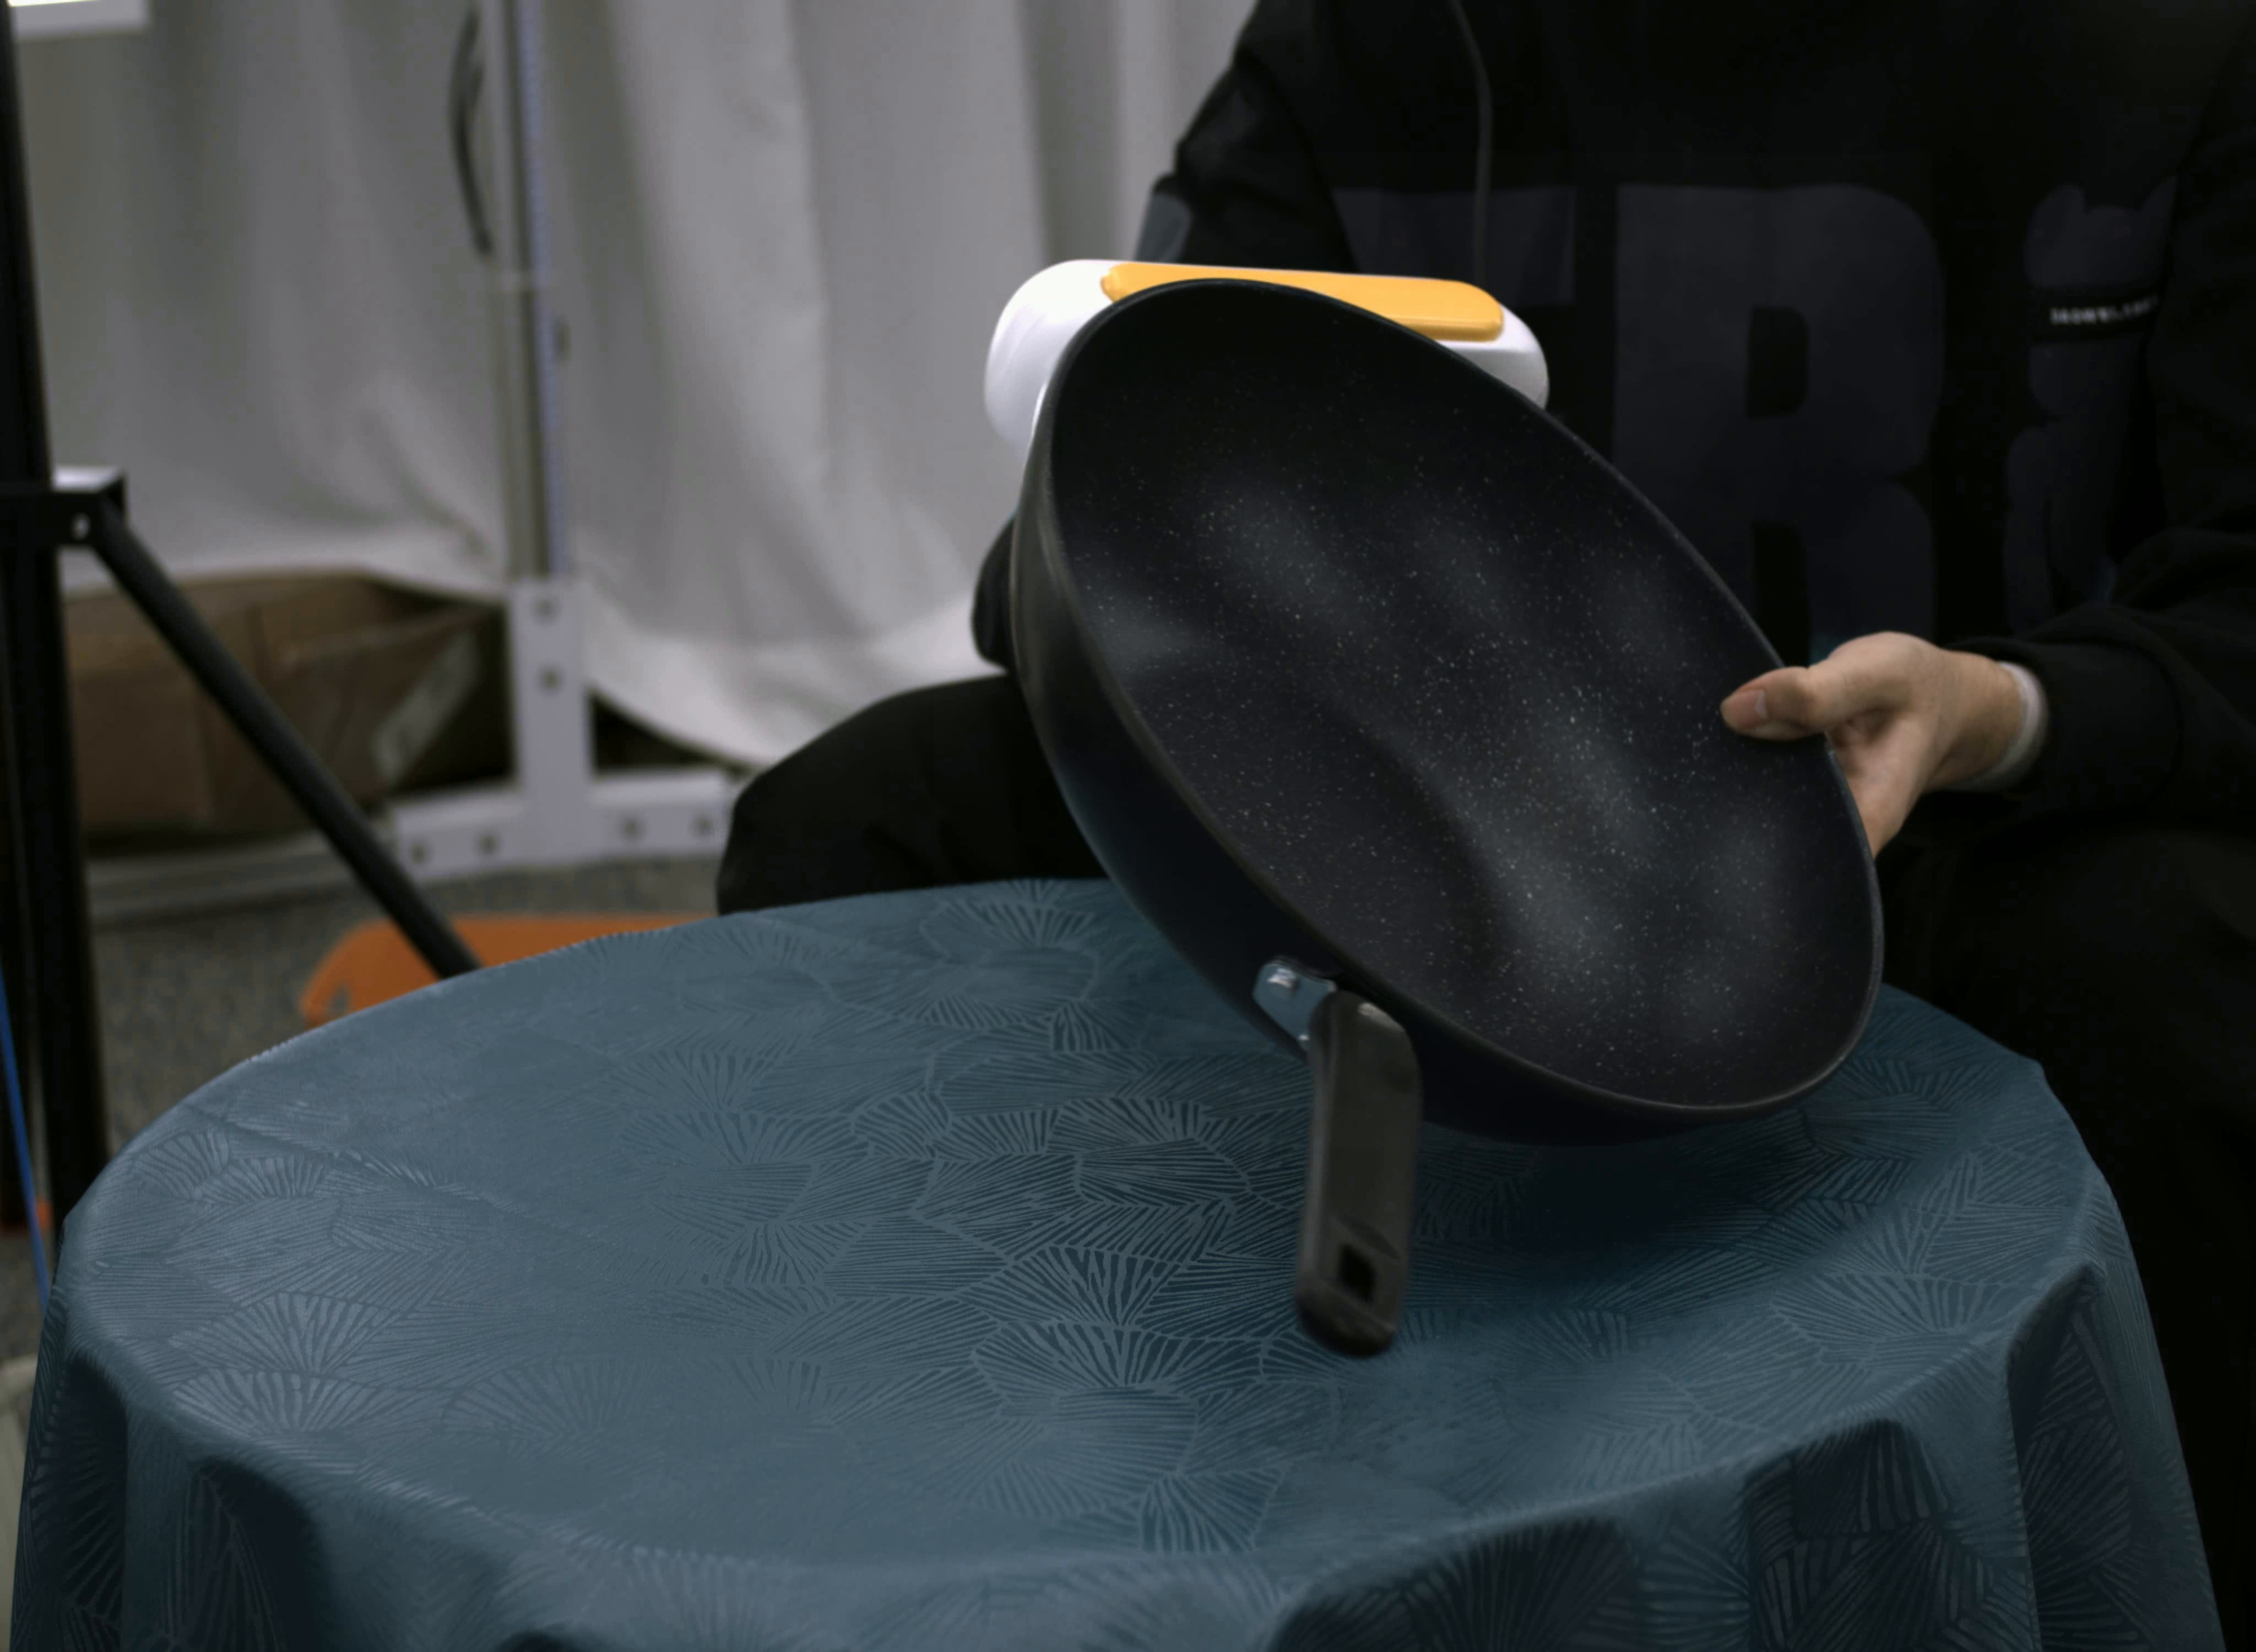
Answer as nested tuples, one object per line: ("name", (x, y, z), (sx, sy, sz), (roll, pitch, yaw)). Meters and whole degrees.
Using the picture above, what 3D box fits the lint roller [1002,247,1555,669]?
("lint roller", (0.021, -0.106, 1.720), (0.188, 0.193, 0.075), (-1, 48, -36))

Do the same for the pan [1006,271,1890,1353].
("pan", (0.070, 0.019, 1.495), (0.307, 0.112, 0.477), (34, 35, -10))
